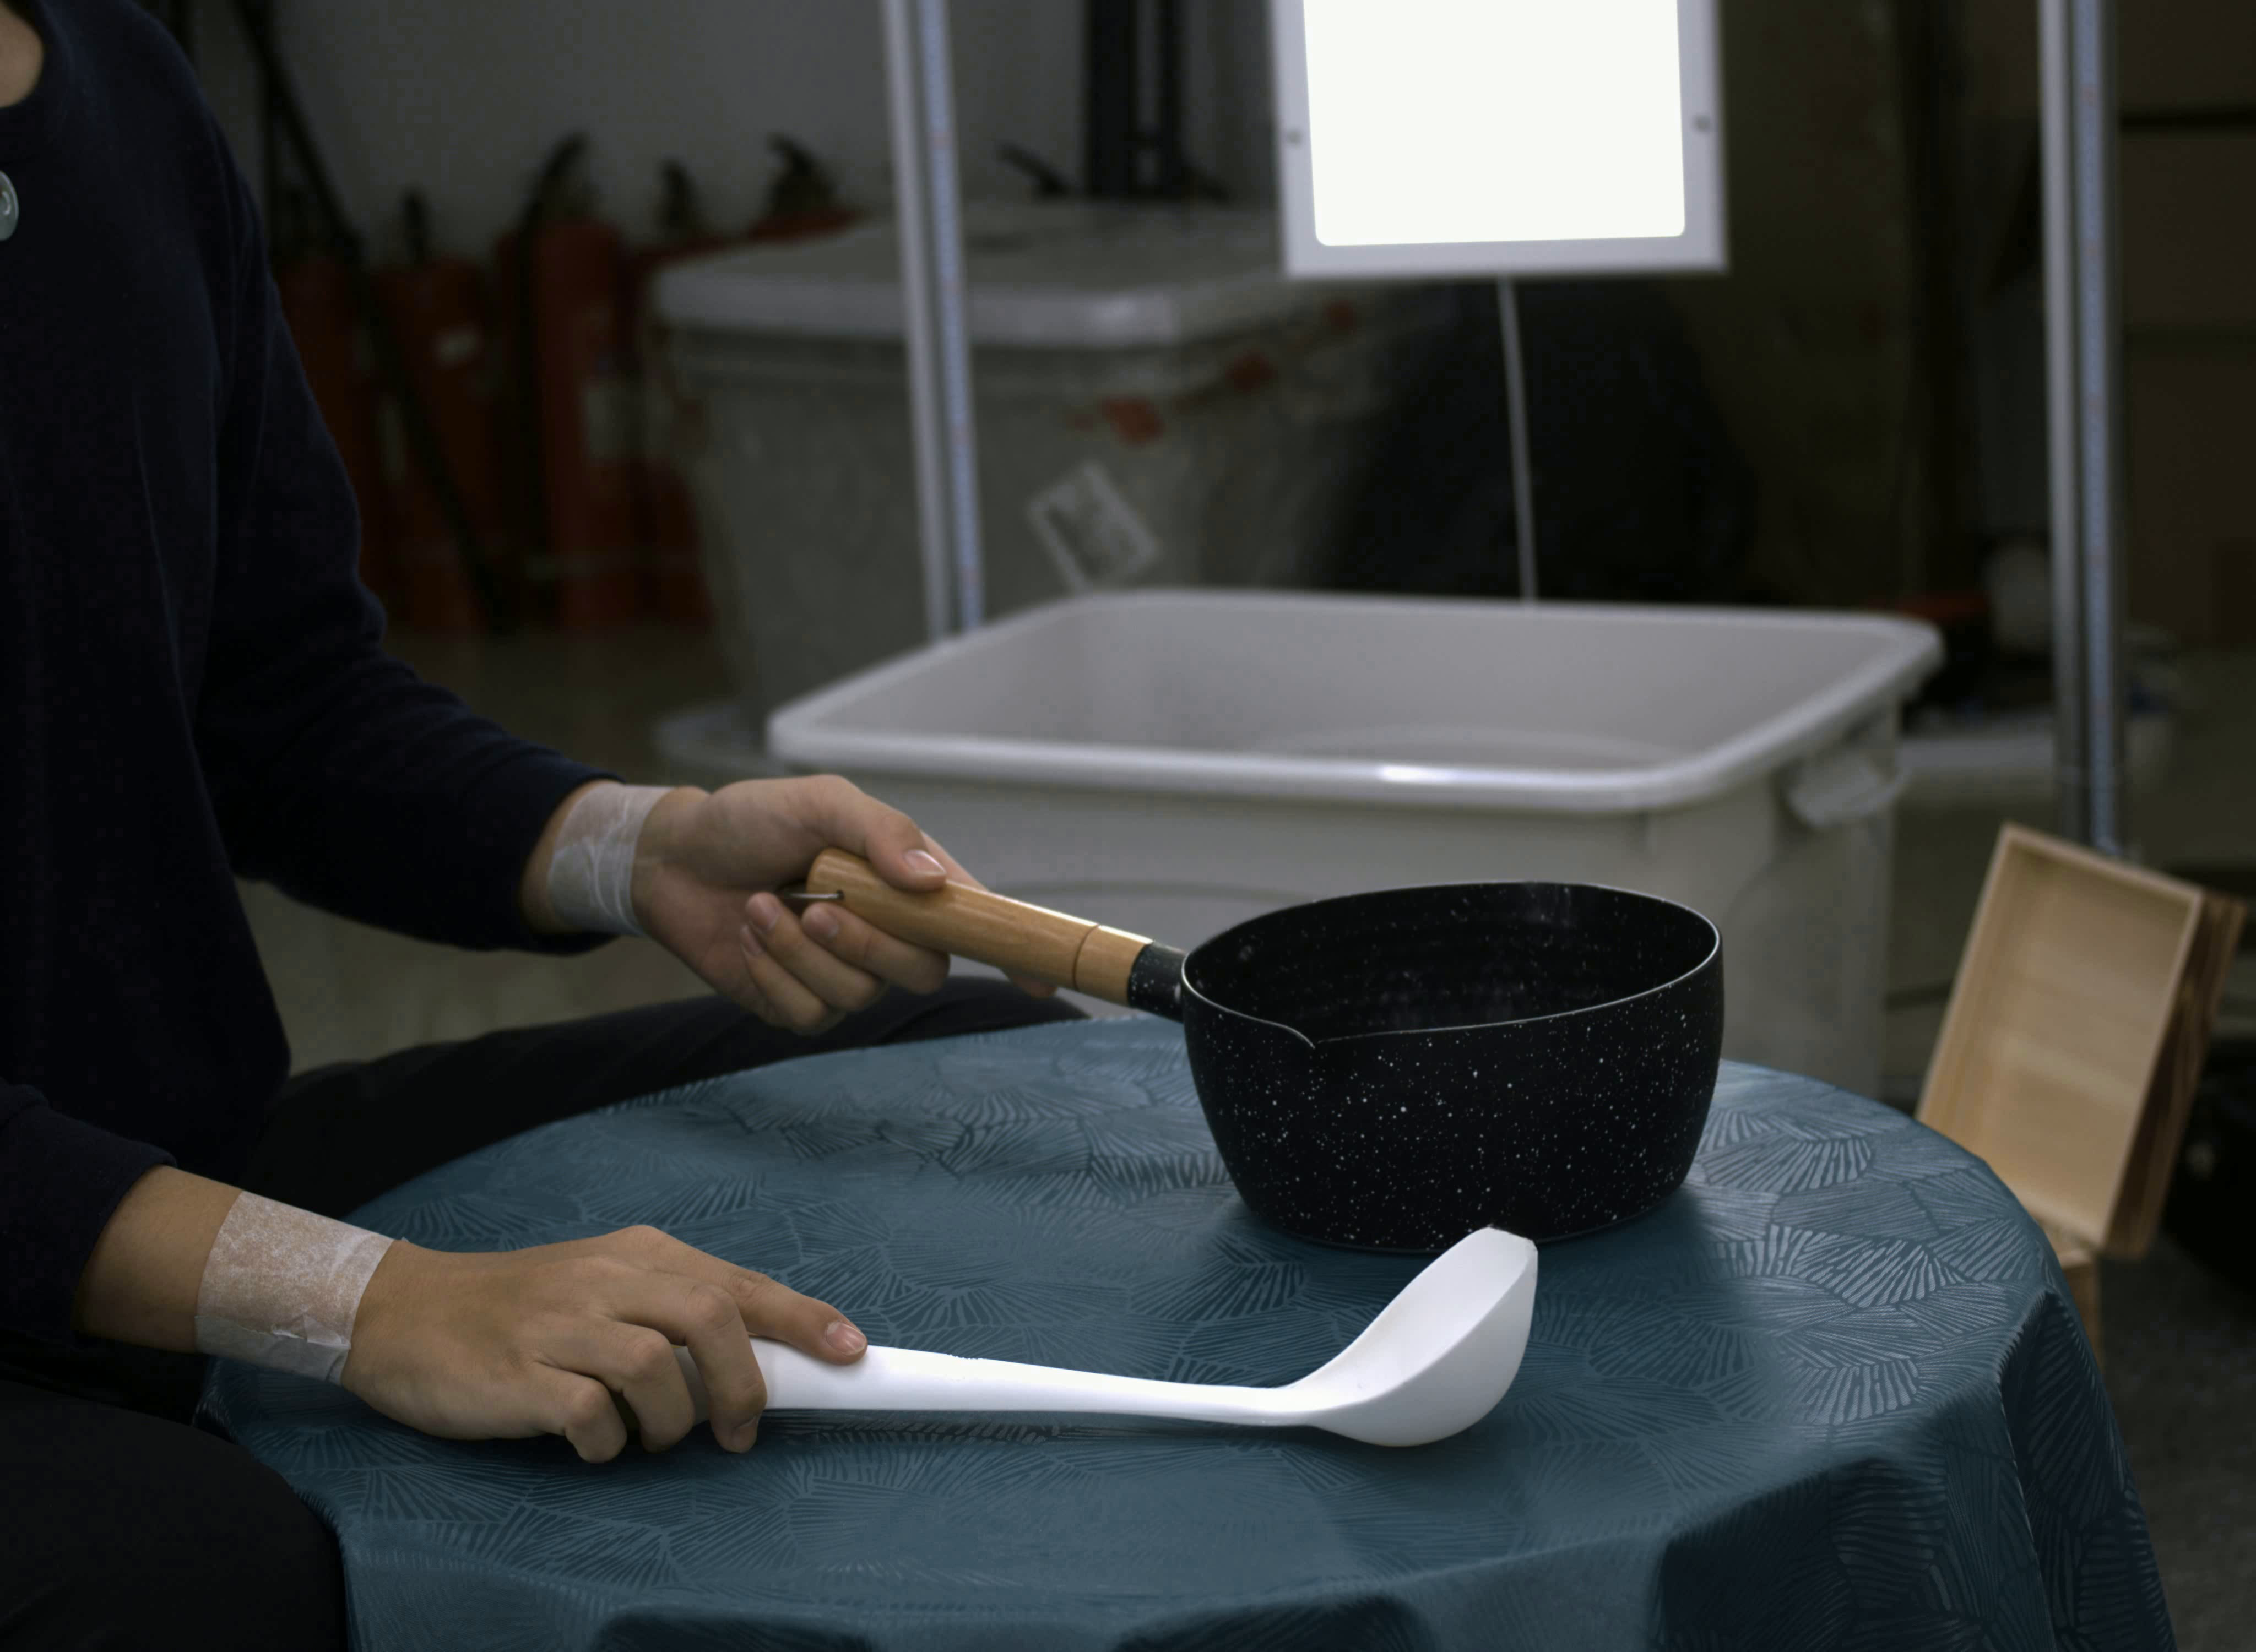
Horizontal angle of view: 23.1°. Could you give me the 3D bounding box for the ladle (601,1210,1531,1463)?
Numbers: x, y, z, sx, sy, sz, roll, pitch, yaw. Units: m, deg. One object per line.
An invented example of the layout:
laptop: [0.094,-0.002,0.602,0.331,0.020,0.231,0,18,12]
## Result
ladle: [-0.020,0.156,1.652,0.296,0.070,0.089,-1,30,17]

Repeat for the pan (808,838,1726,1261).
pan: [0.040,0.068,1.895,0.349,0.108,0.203,4,17,28]
